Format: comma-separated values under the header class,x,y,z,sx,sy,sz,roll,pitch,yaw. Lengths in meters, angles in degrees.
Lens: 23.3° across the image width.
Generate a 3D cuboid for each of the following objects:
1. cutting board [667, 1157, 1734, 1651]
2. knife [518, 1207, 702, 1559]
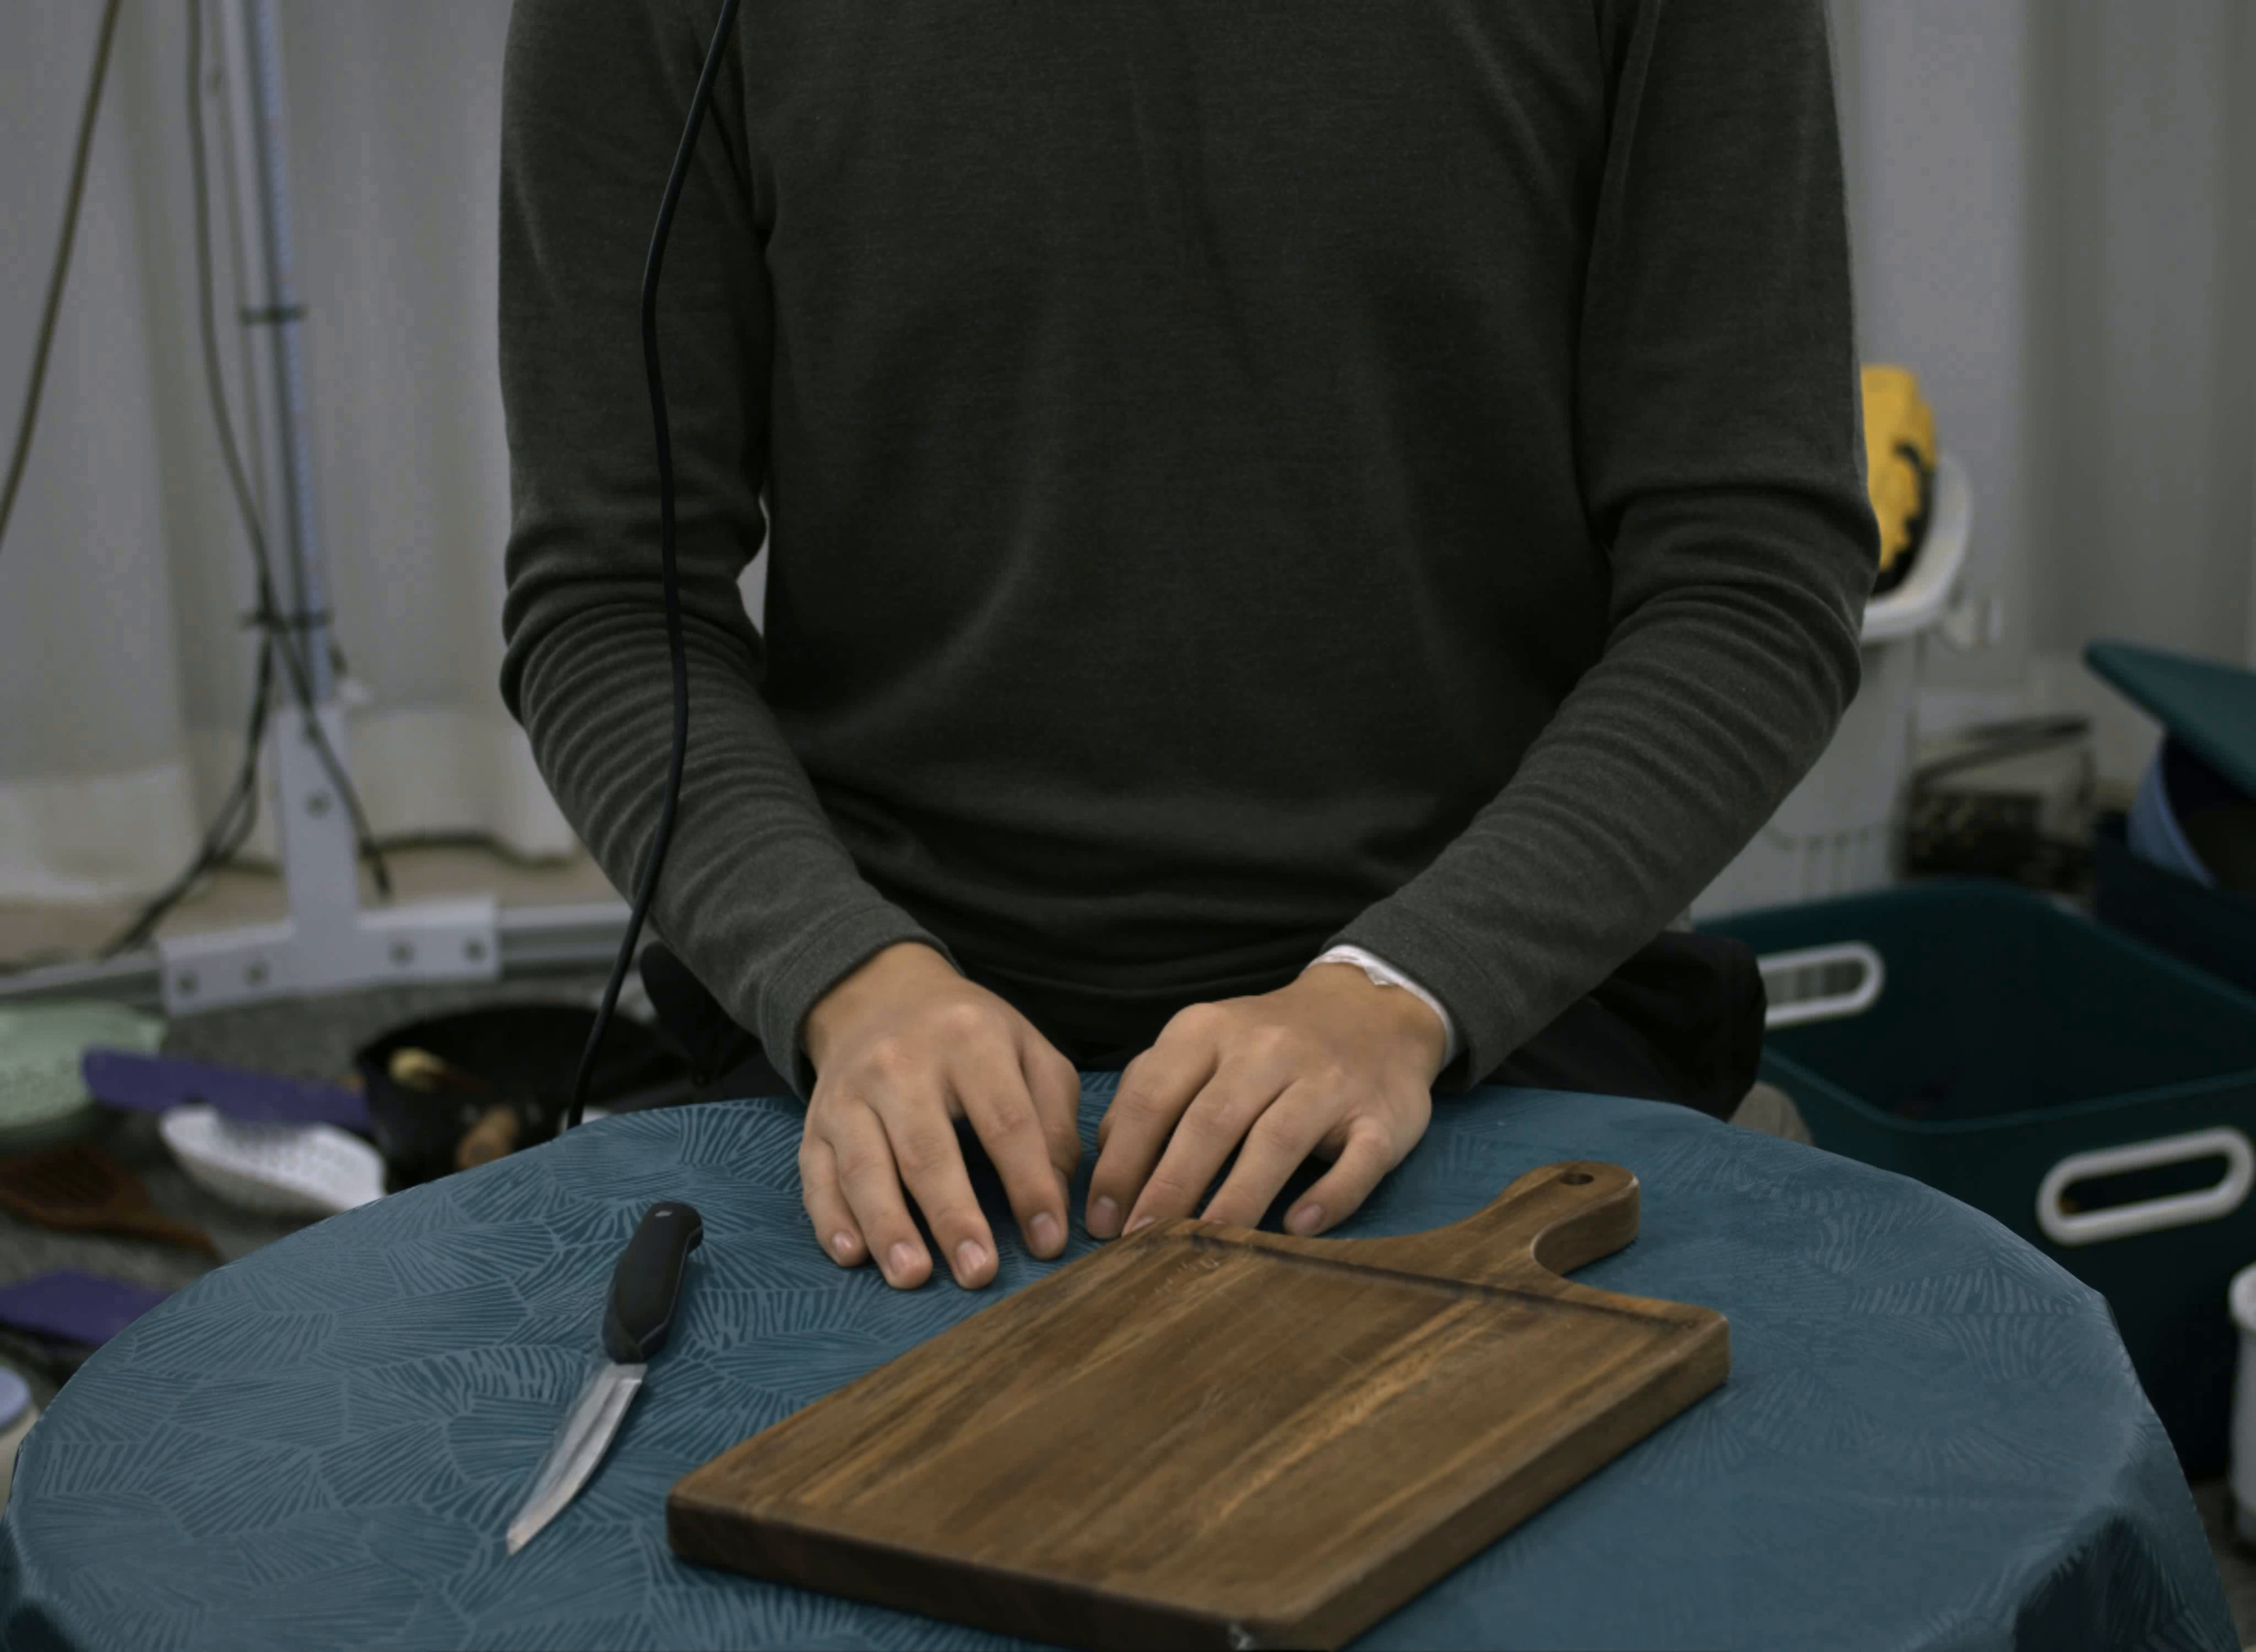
class,x,y,z,sx,sy,sz,roll,pitch,yaw
cutting board,0.051,0.153,1.526,0.202,0.023,0.352,7,17,32
knife,-0.150,0.158,1.560,0.024,0.016,0.240,-4,17,7
